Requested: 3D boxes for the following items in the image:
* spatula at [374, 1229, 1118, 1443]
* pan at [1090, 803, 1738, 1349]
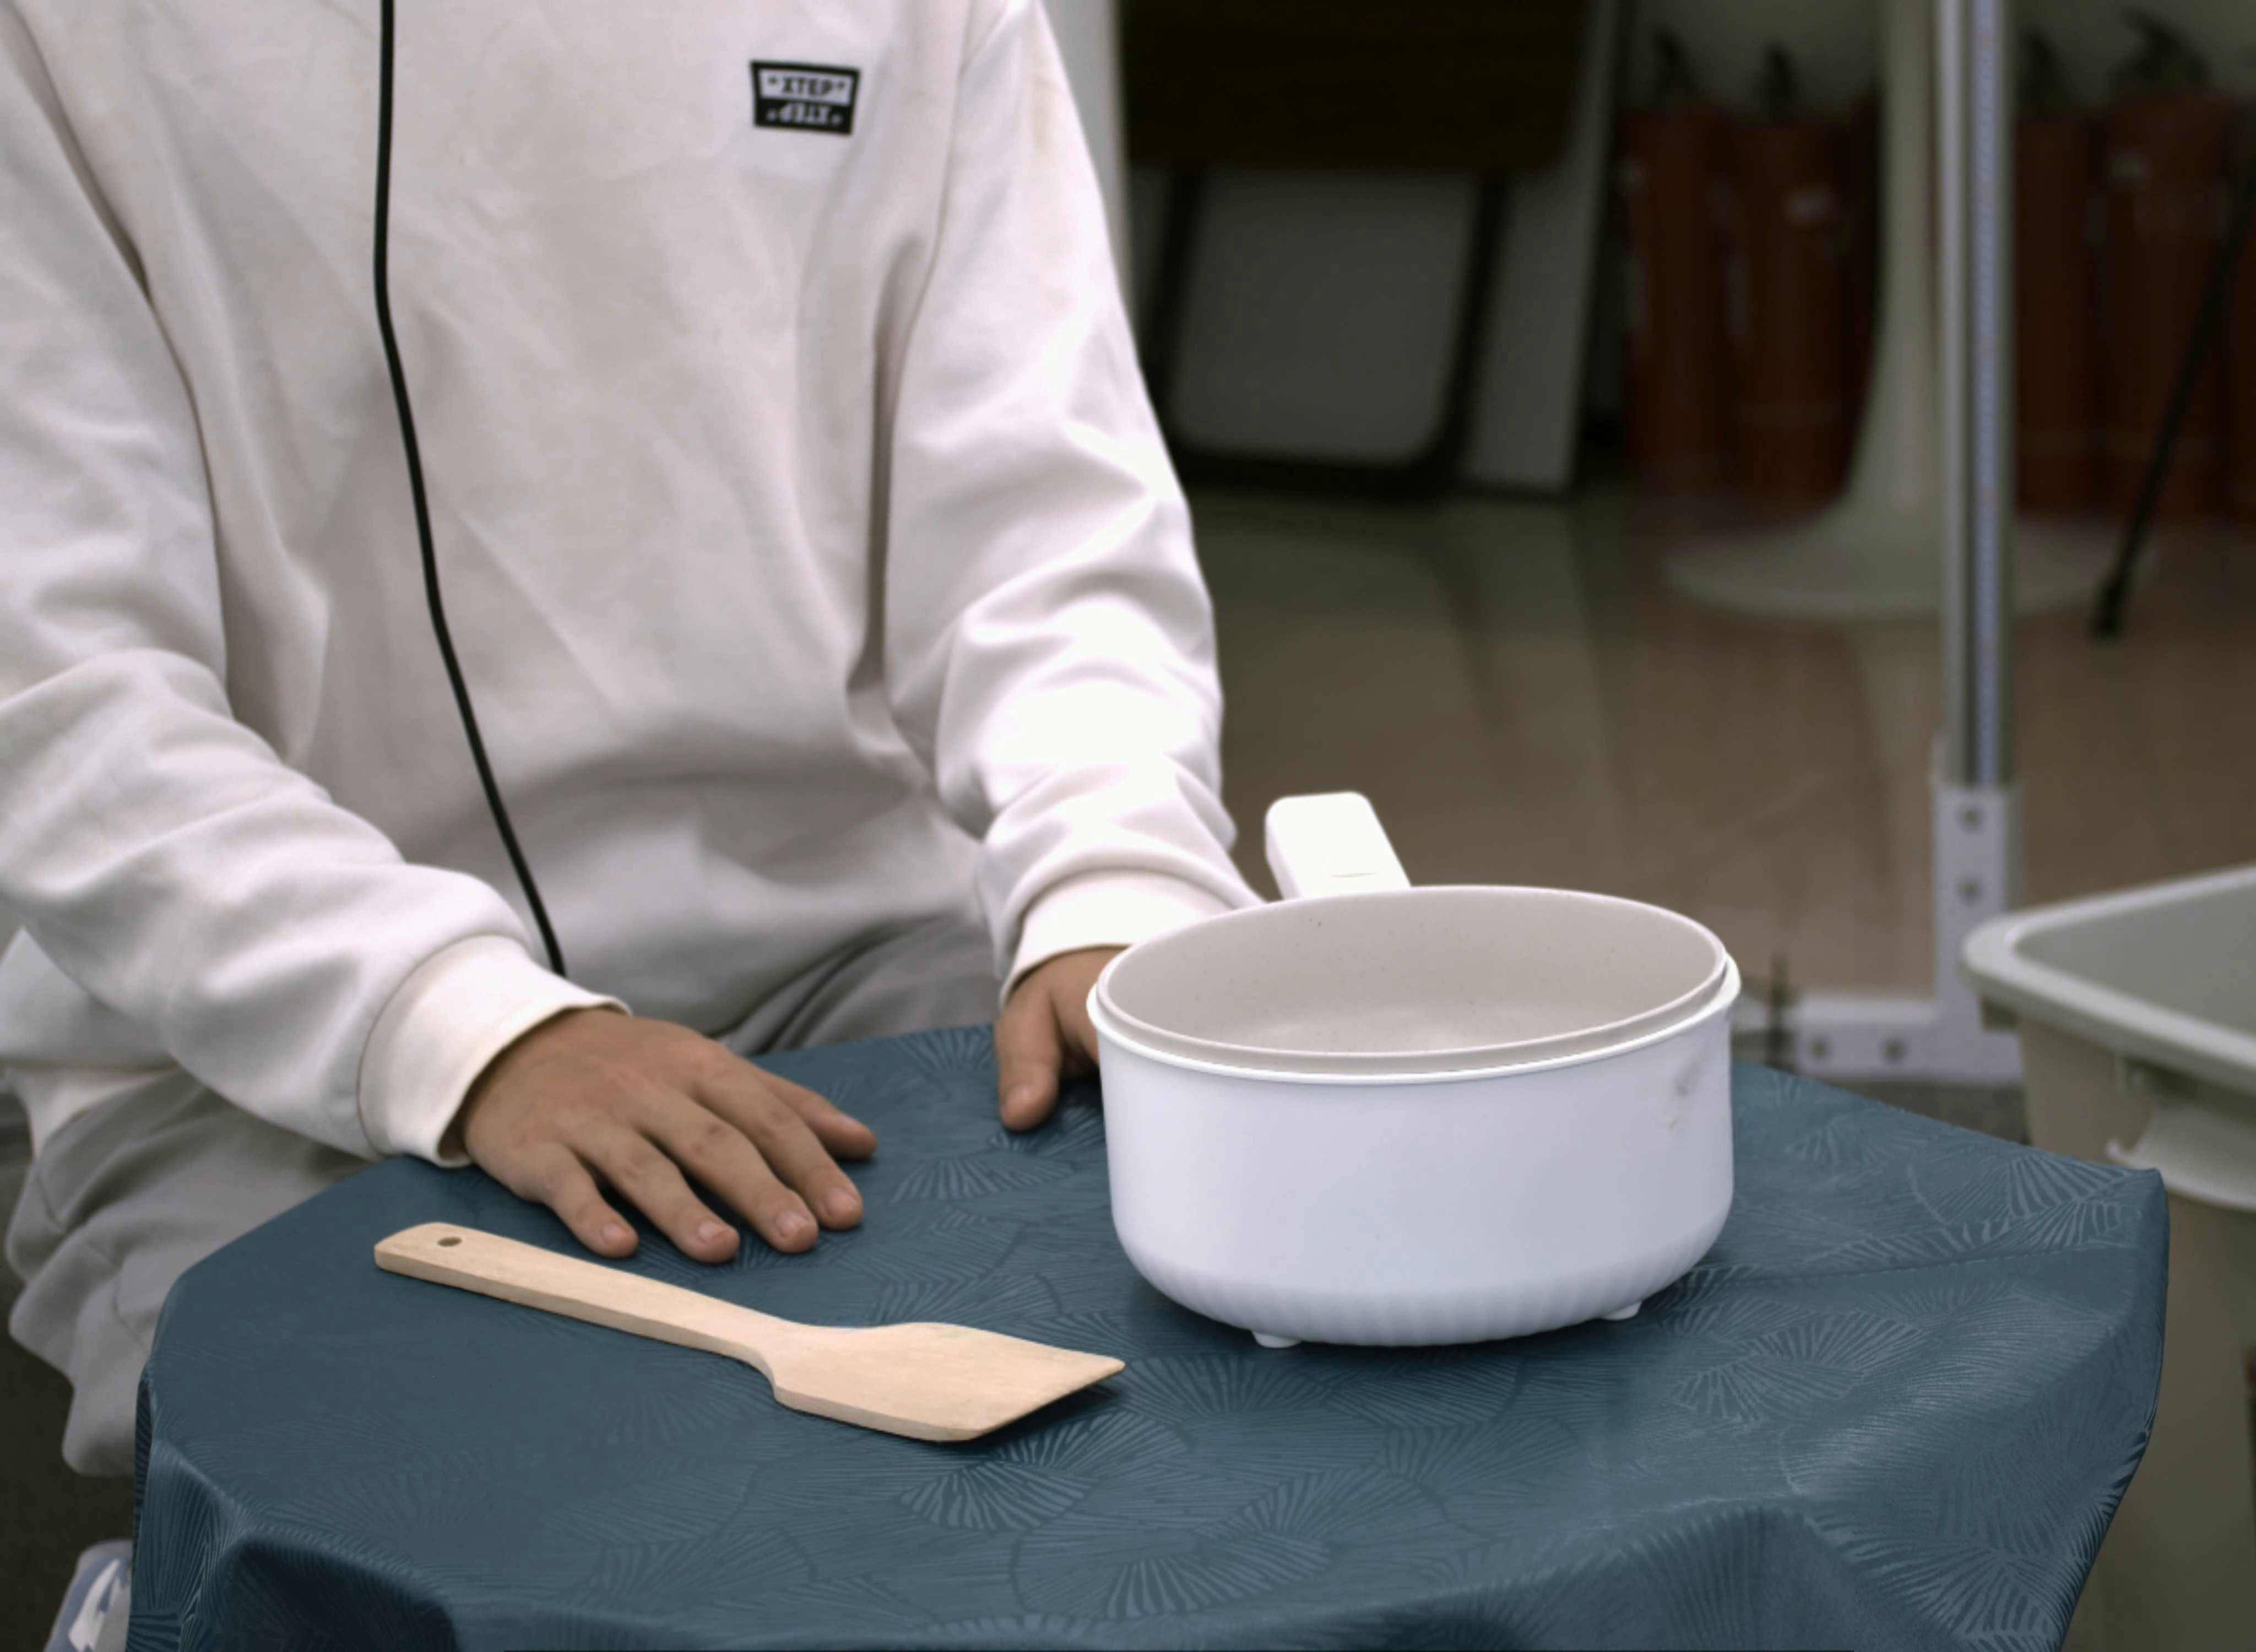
[{"bbox_3d":[-0.131,0.154,1.660,0.295,0.011,0.071,8,19,42],"label":"spatula"},{"bbox_3d":[0.085,0.076,1.734,0.198,0.103,0.356,-5,12,-3],"label":"pan"}]
